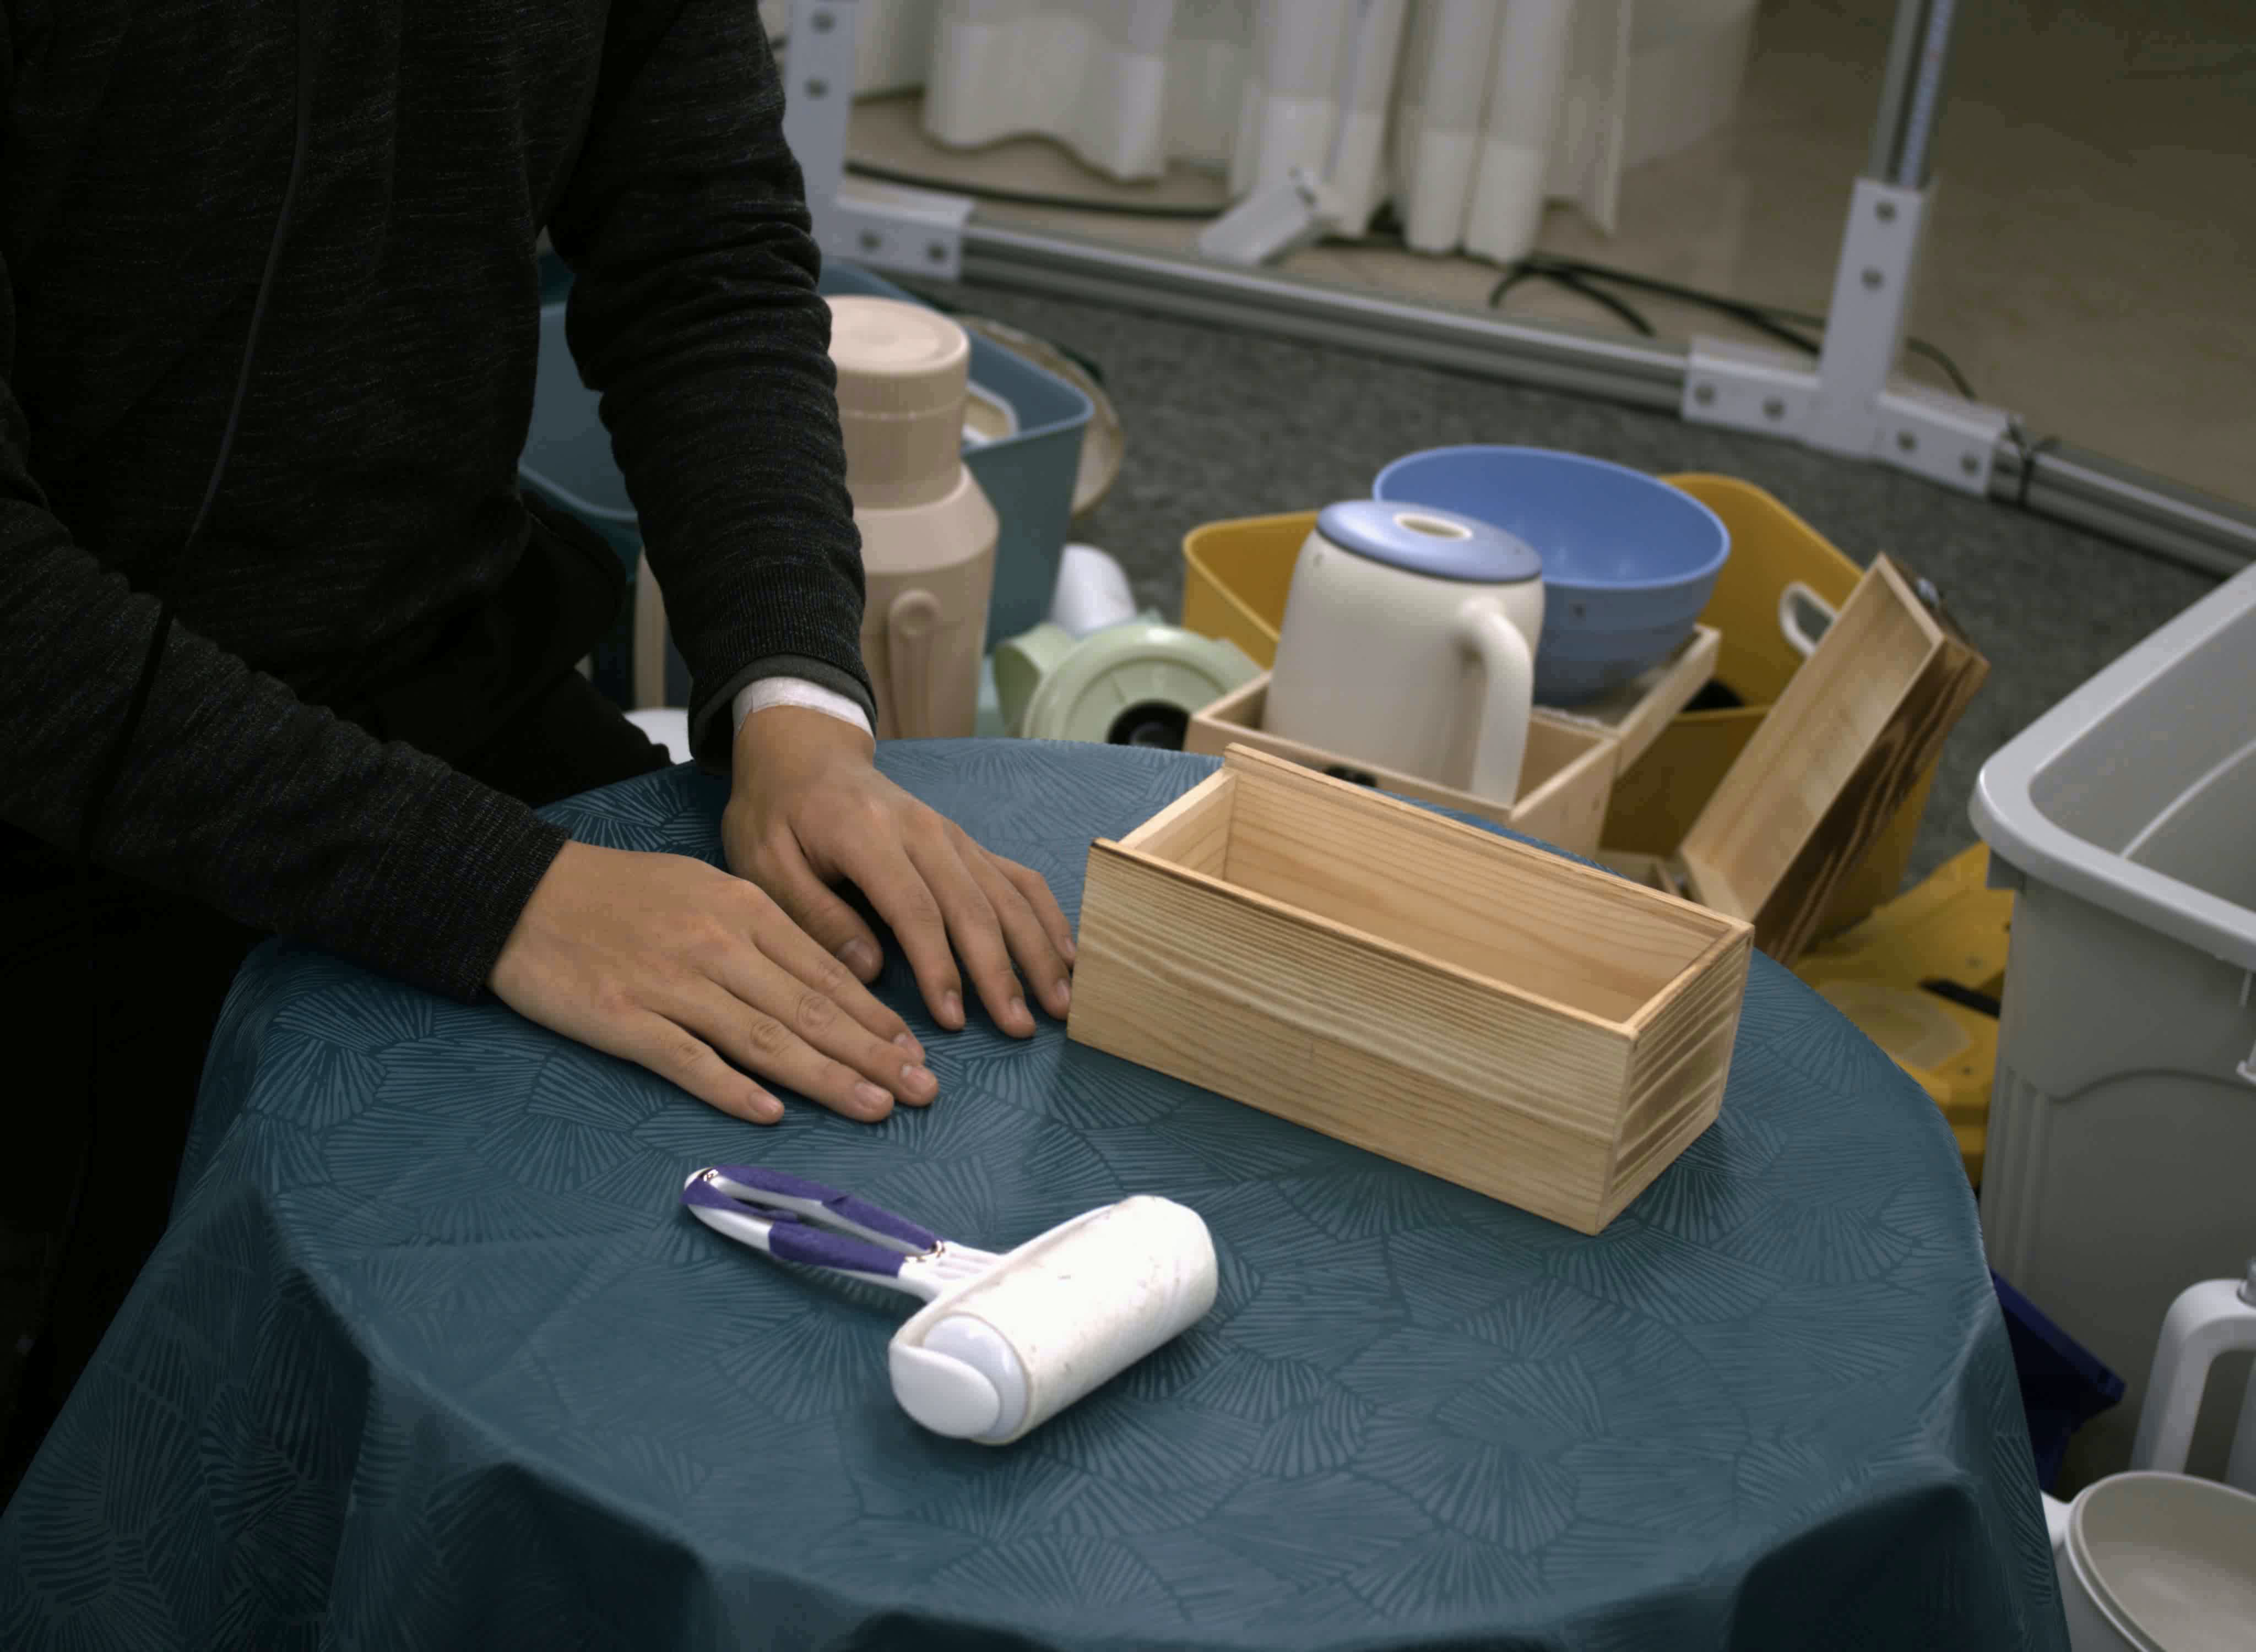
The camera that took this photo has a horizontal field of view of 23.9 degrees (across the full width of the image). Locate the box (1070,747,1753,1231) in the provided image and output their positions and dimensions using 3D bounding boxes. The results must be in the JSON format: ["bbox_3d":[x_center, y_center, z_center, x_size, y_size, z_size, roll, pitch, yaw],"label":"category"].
[{"bbox_3d":[0.099,0.055,1.871,0.212,0.080,0.107,19,29,24],"label":"box"}]

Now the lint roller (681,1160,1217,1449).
[{"bbox_3d":[-0.071,0.132,1.717,0.182,0.050,0.132,26,34,30],"label":"lint roller"}]
